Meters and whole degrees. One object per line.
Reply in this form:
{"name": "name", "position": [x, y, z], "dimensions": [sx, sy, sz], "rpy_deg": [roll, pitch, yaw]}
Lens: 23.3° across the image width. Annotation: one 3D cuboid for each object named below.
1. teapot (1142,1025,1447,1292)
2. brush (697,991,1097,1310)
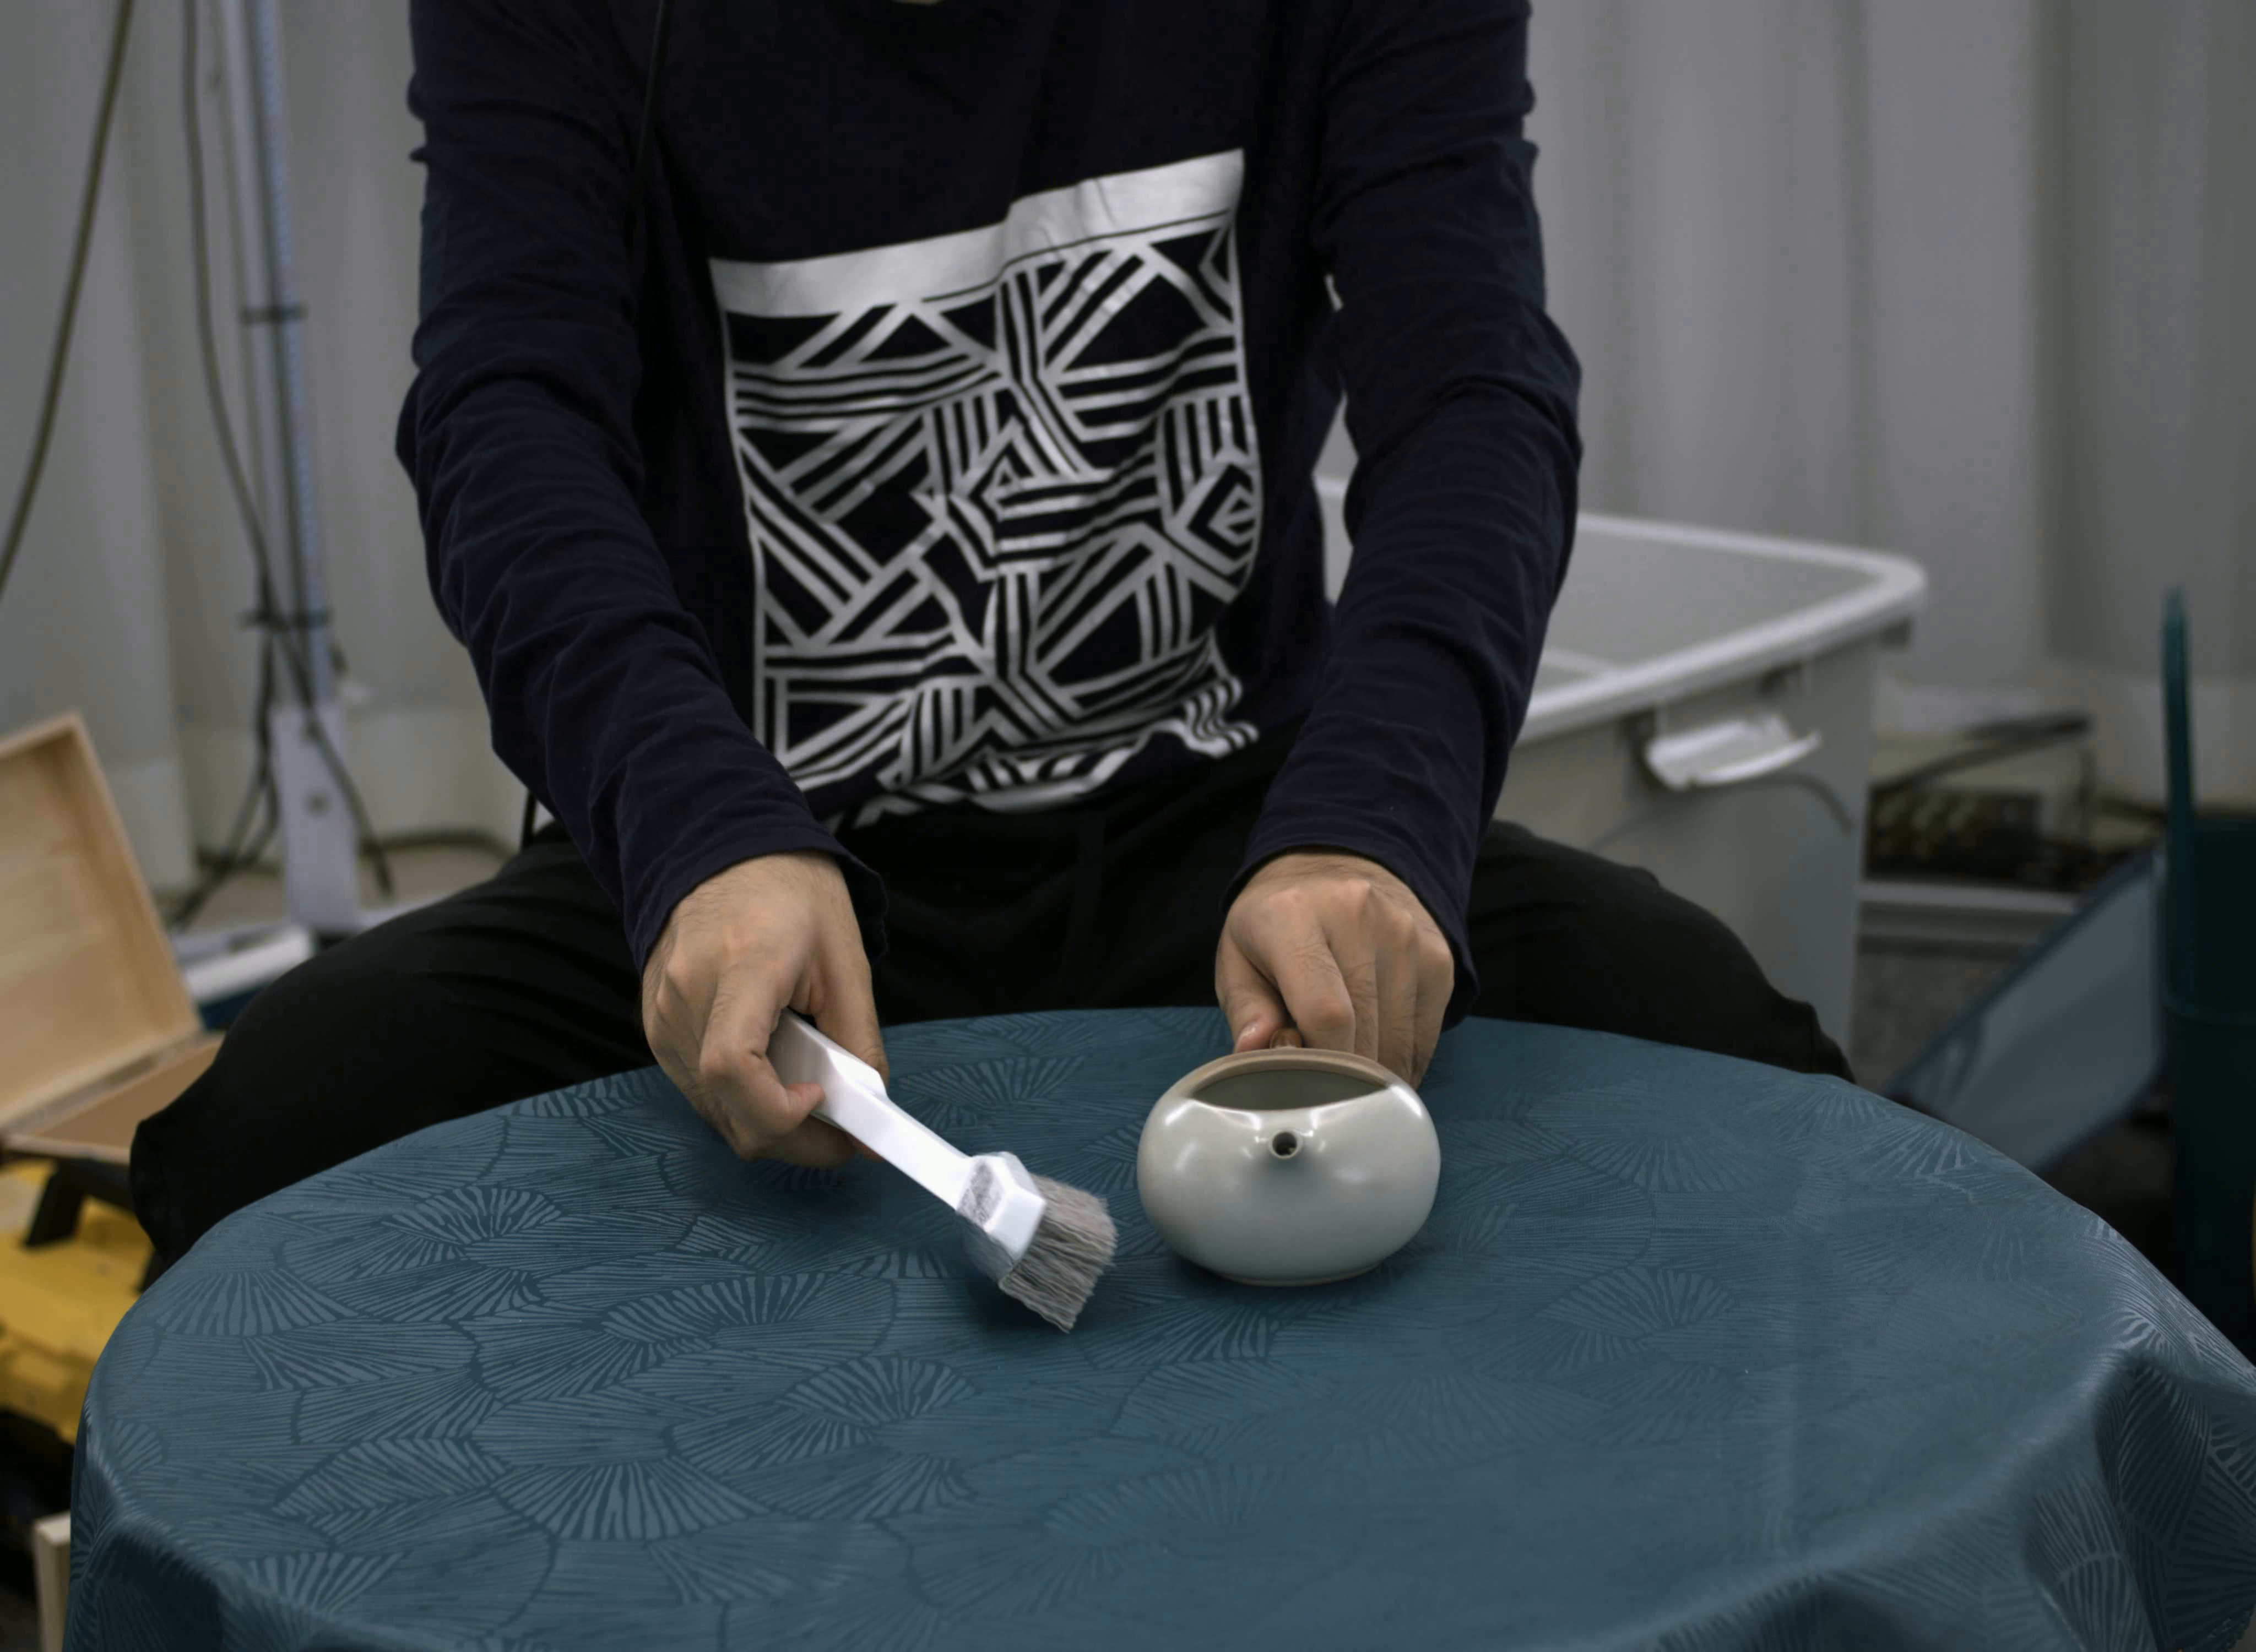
{"name": "teapot", "position": [0.050, 0.100, 1.650], "dimensions": [0.091, 0.059, 0.129], "rpy_deg": [-6, 16, 1]}
{"name": "brush", "position": [-0.070, 0.096, 1.690], "dimensions": [0.050, 0.034, 0.246], "rpy_deg": [11, 9, -27]}
